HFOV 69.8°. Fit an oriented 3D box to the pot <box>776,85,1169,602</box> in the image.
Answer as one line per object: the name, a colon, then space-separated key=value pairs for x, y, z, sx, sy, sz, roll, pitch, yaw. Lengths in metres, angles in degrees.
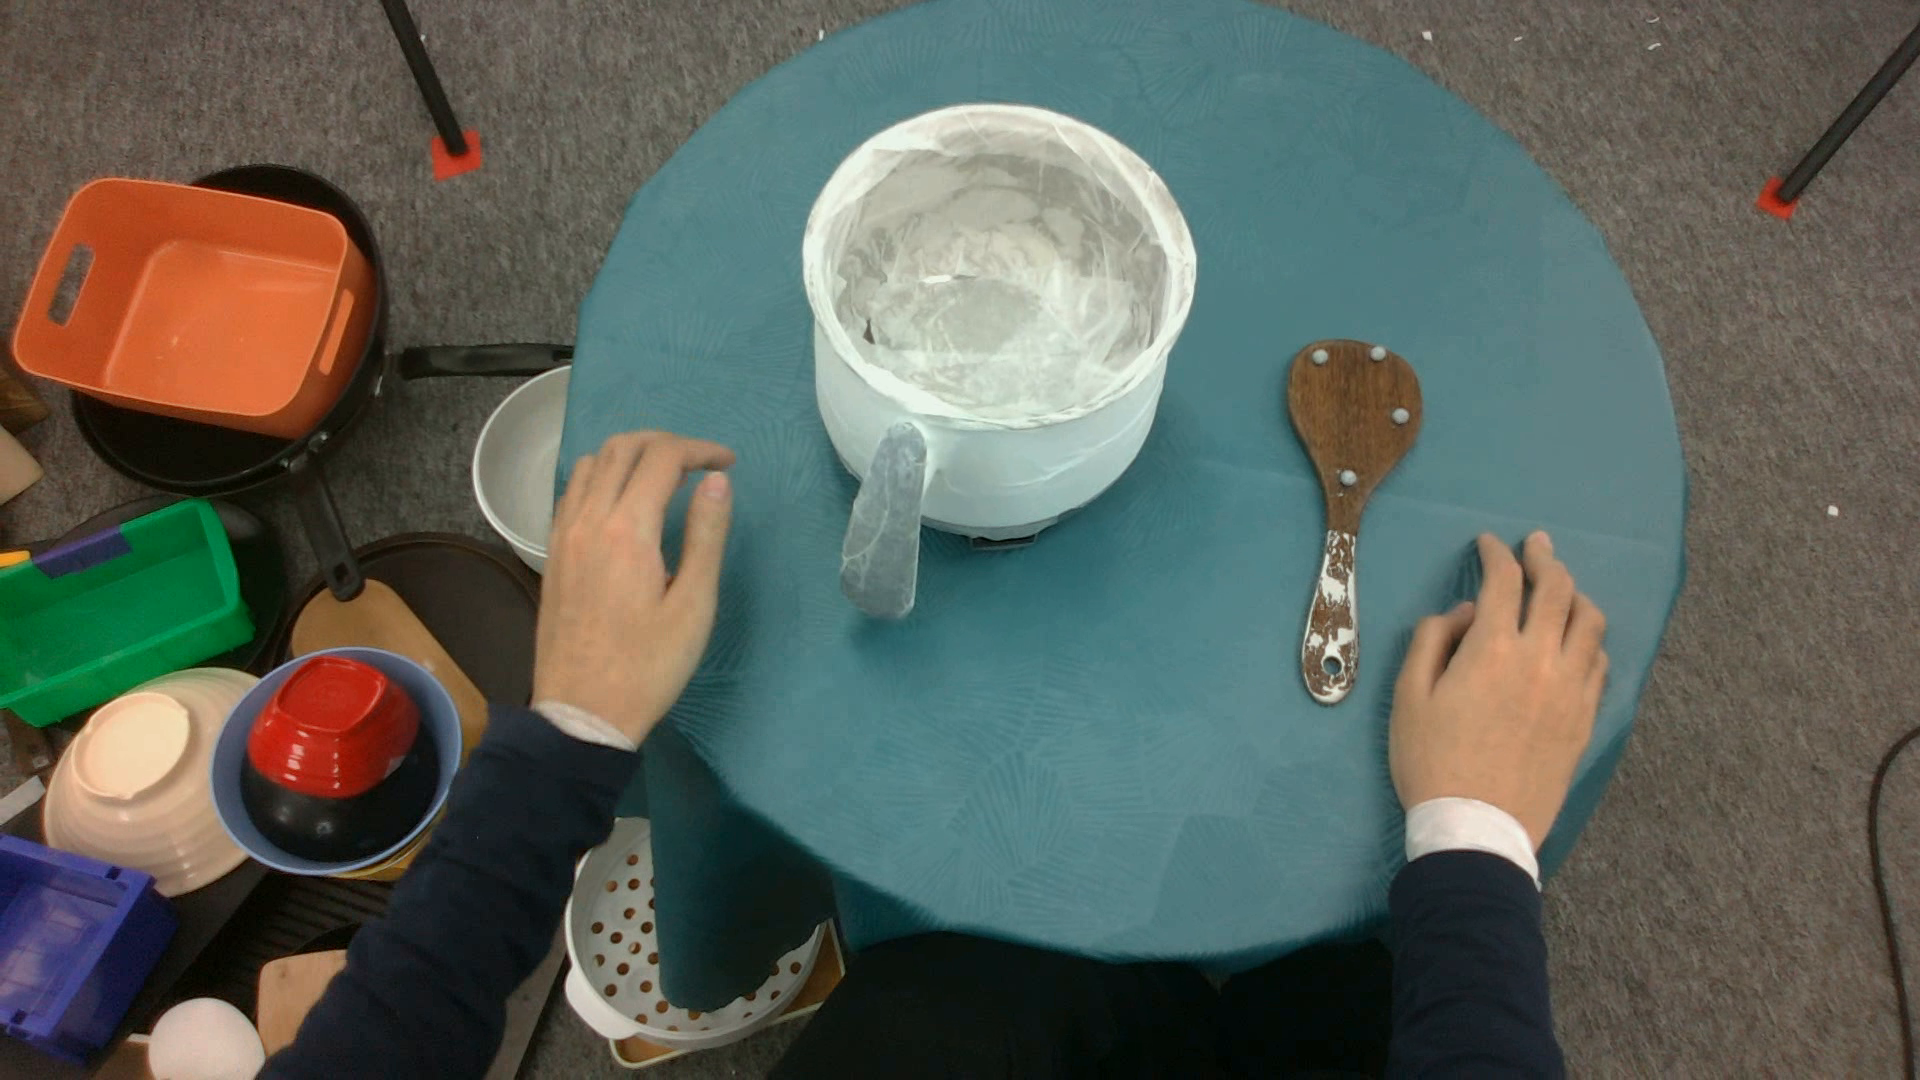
pot: x=-0.006 y=-0.087 z=0.663 sx=0.178 sy=0.136 sz=0.234 roll=19 pitch=64 yaw=9

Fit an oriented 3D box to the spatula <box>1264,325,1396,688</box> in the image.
spatula: x=0.187 y=-0.024 z=0.719 sx=0.072 sy=0.009 sz=0.216 roll=11 pitch=66 yaw=3
